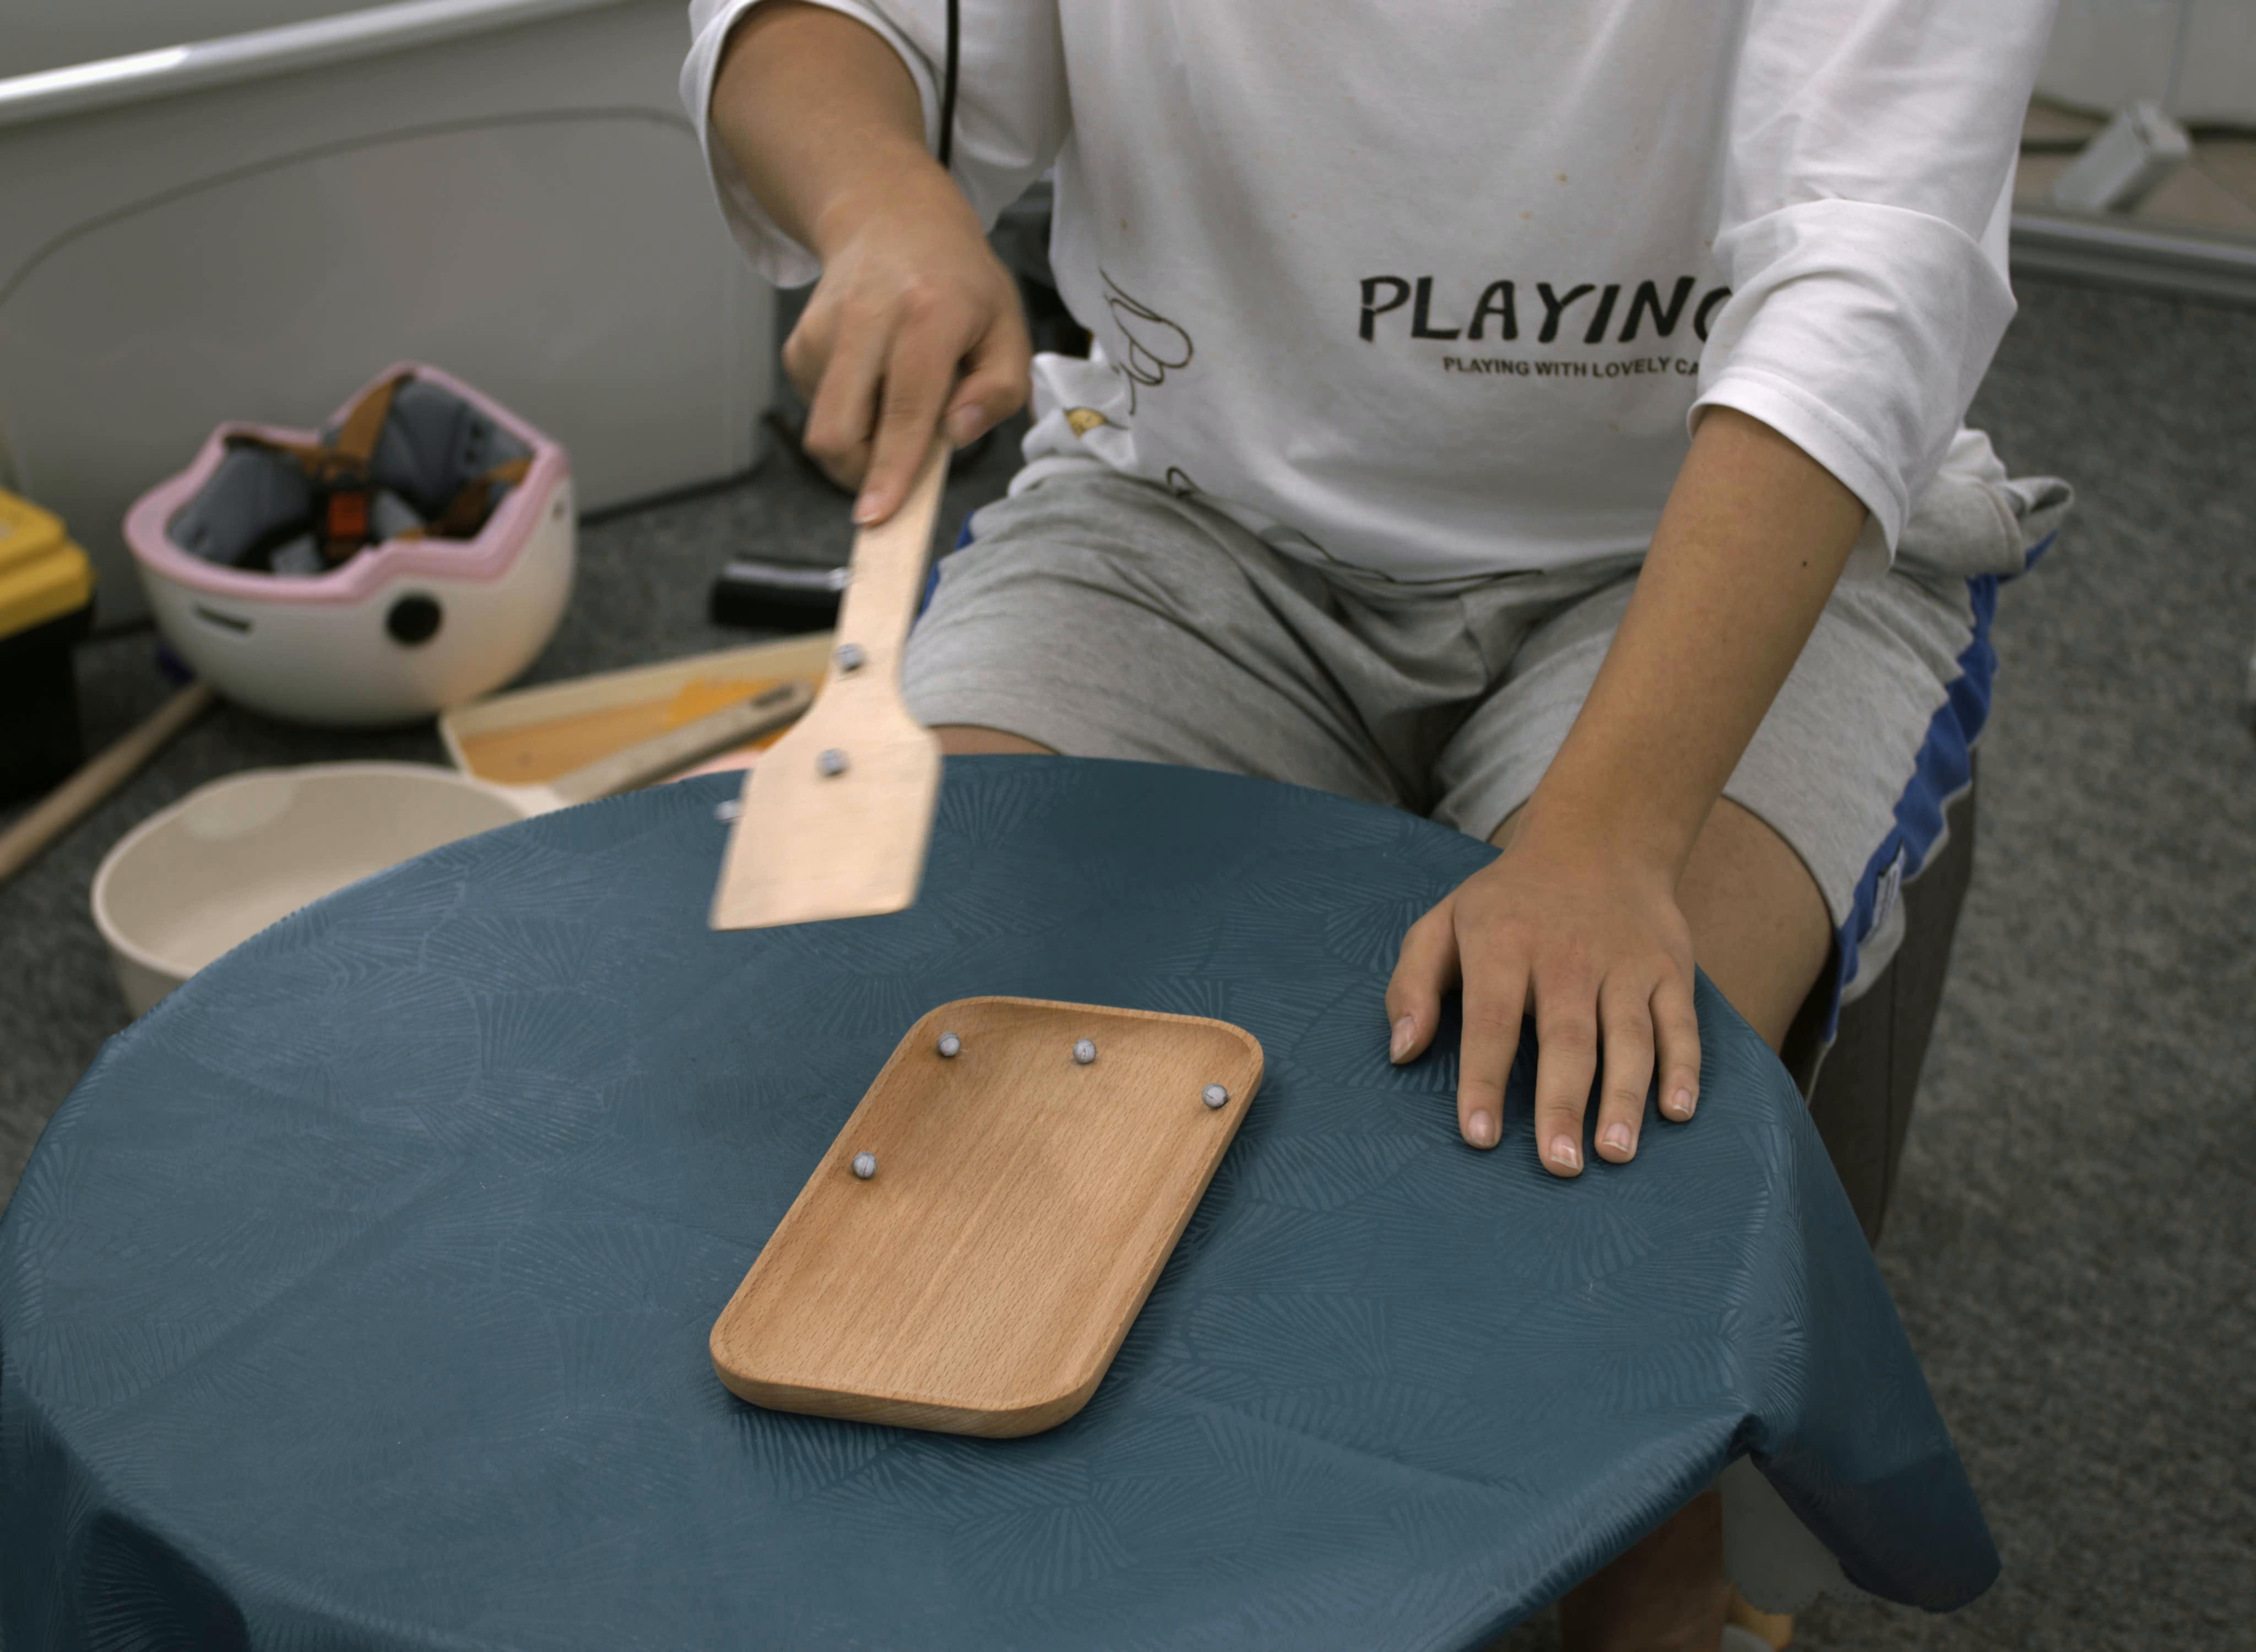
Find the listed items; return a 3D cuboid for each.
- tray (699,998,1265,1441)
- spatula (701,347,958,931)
[{"bbox_3d":[-0.044,0.126,1.842,0.129,0.022,0.255,4,28,18],"label":"tray"},{"bbox_3d":[-0.093,-0.070,1.962,0.071,0.010,0.299,-6,43,15],"label":"spatula"}]
